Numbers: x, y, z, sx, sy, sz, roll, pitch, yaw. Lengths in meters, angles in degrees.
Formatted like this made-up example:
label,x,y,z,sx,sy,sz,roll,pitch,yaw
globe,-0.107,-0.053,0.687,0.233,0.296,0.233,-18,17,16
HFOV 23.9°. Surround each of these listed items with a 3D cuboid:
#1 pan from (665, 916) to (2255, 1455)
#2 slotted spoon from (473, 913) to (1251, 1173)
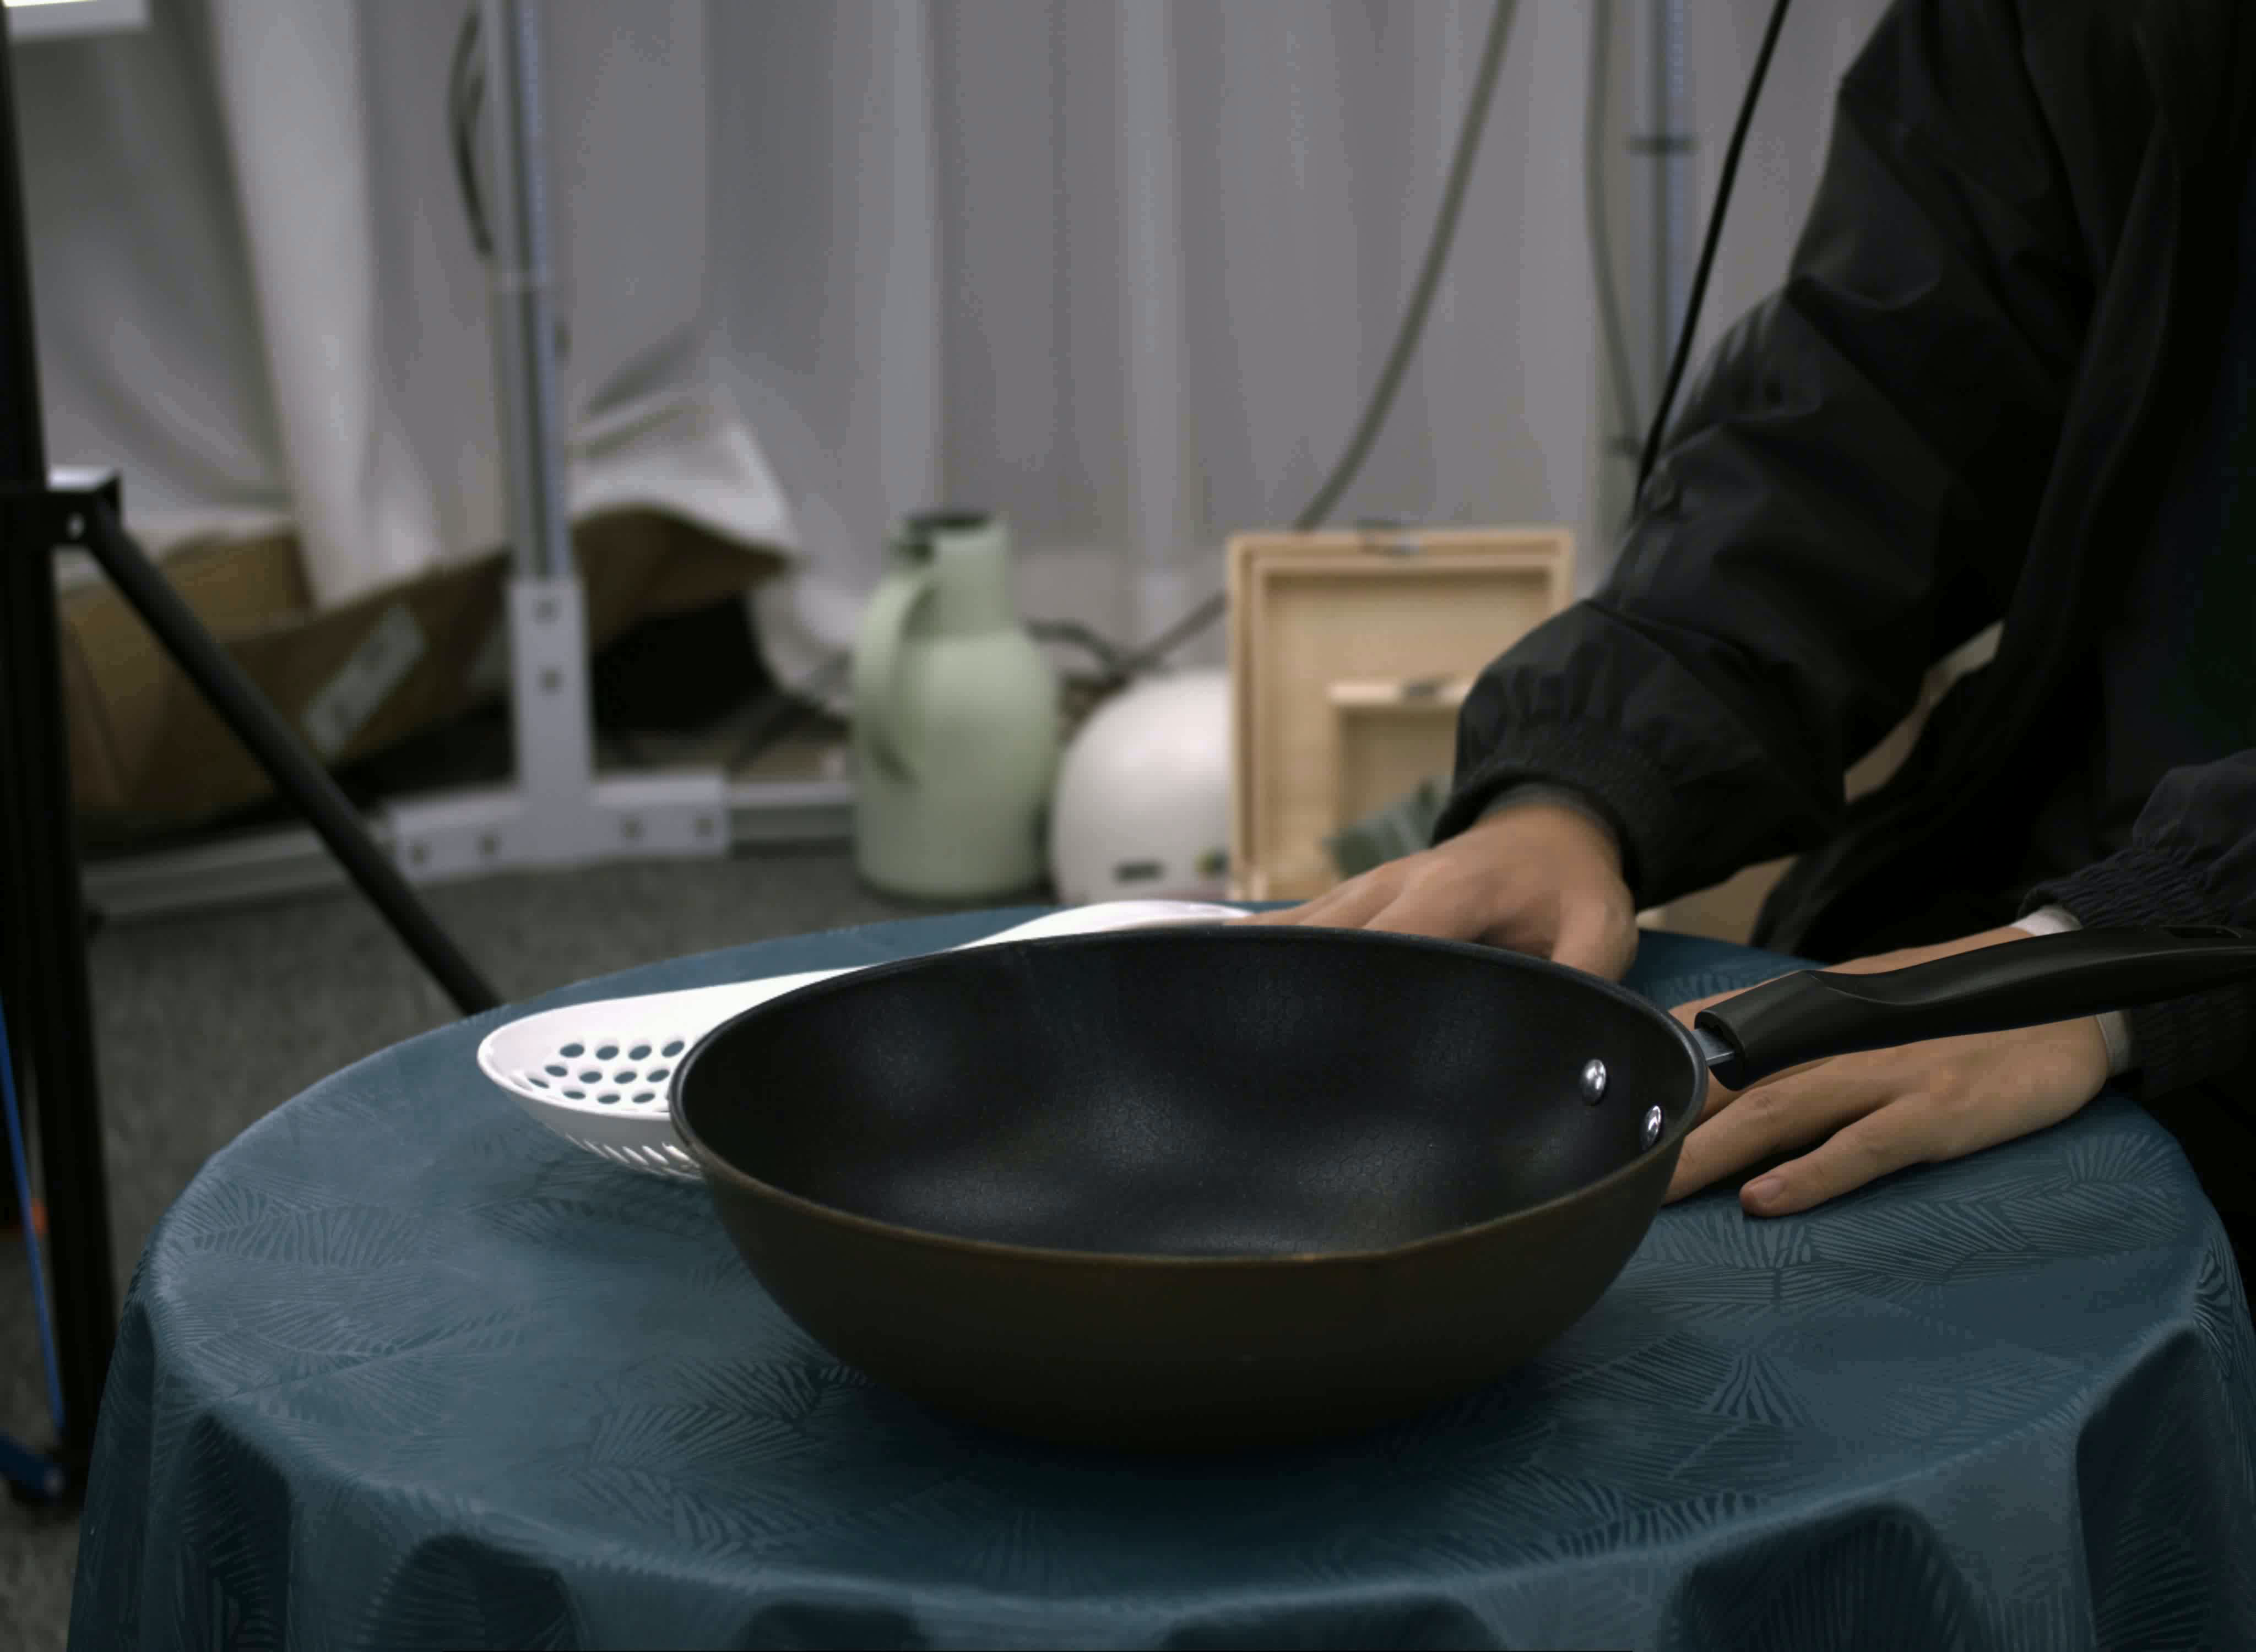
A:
label,x,y,z,sx,sy,sz,roll,pitch,yaw
pan,0.102,0.093,1.448,0.455,0.087,0.293,-6,16,-16
slotted spoon,-0.060,0.056,1.676,0.139,0.050,0.340,8,18,37
